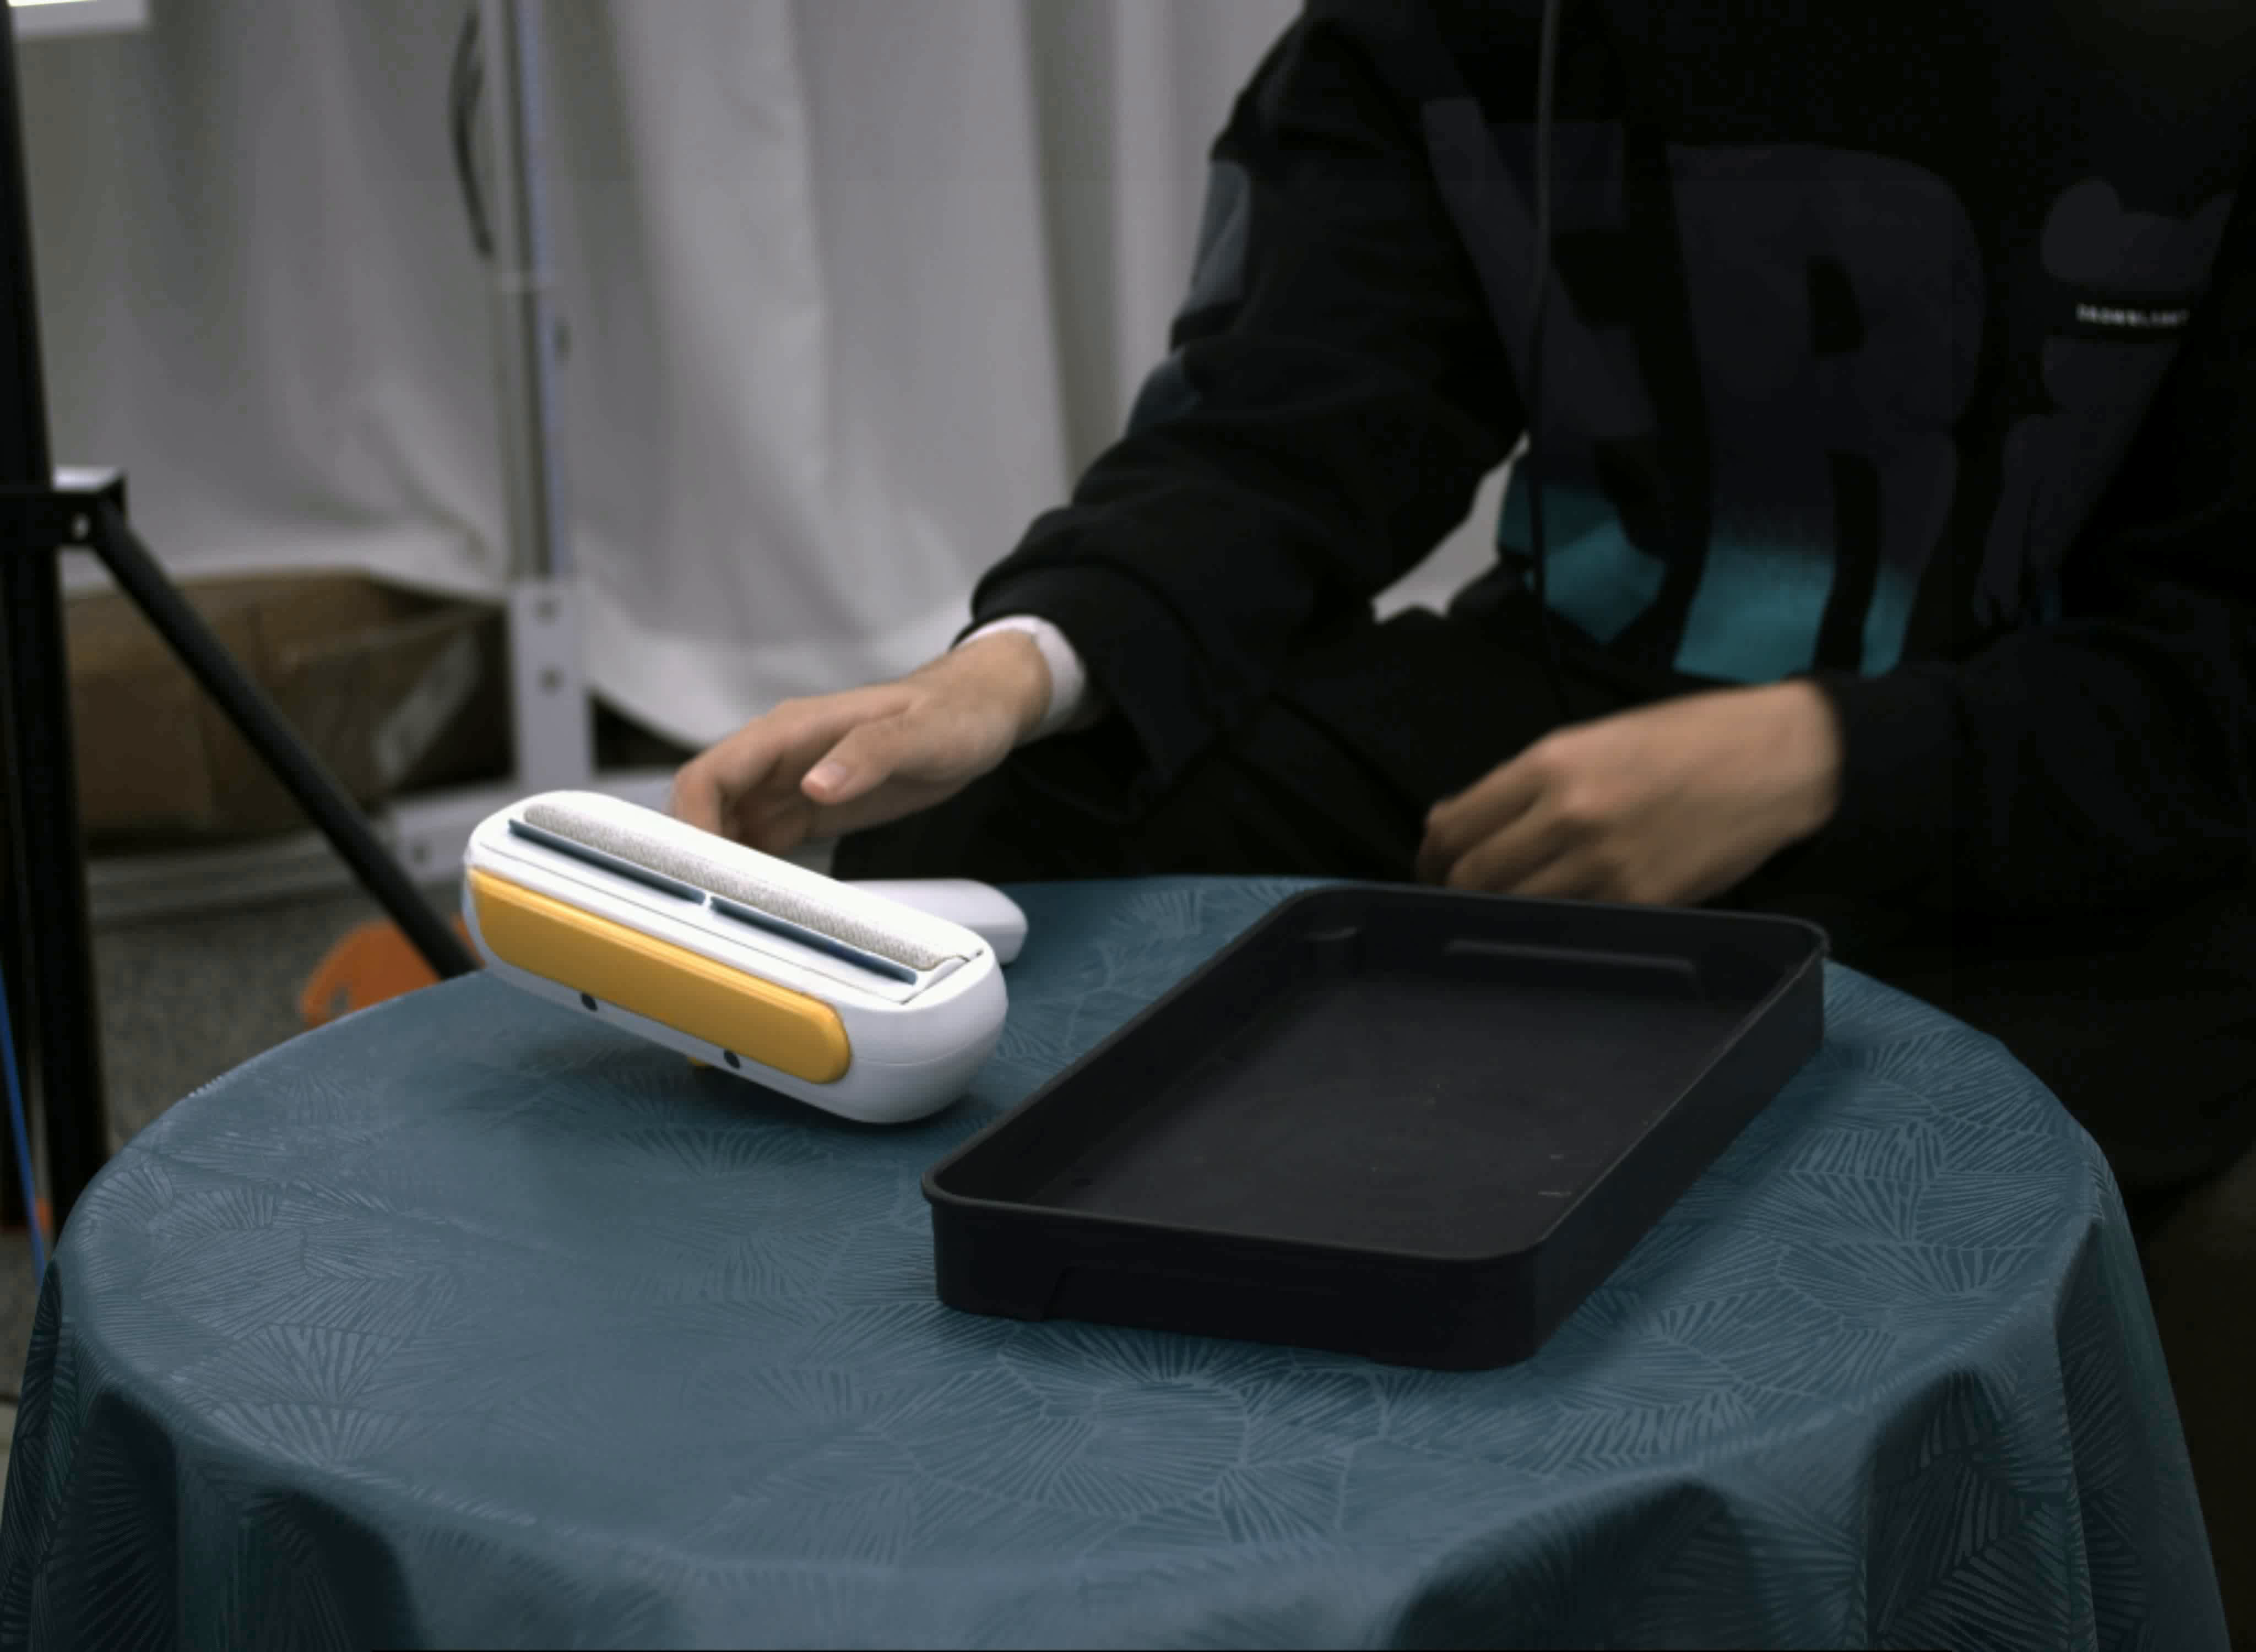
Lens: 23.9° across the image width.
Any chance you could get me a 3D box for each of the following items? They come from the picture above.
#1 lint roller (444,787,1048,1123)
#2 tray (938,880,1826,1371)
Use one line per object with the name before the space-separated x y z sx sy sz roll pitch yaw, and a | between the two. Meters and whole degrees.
lint roller | -0.096 0.033 1.716 0.197 0.074 0.188 16 22 36
tray | 0.084 0.082 1.571 0.187 0.037 0.314 3 17 22
